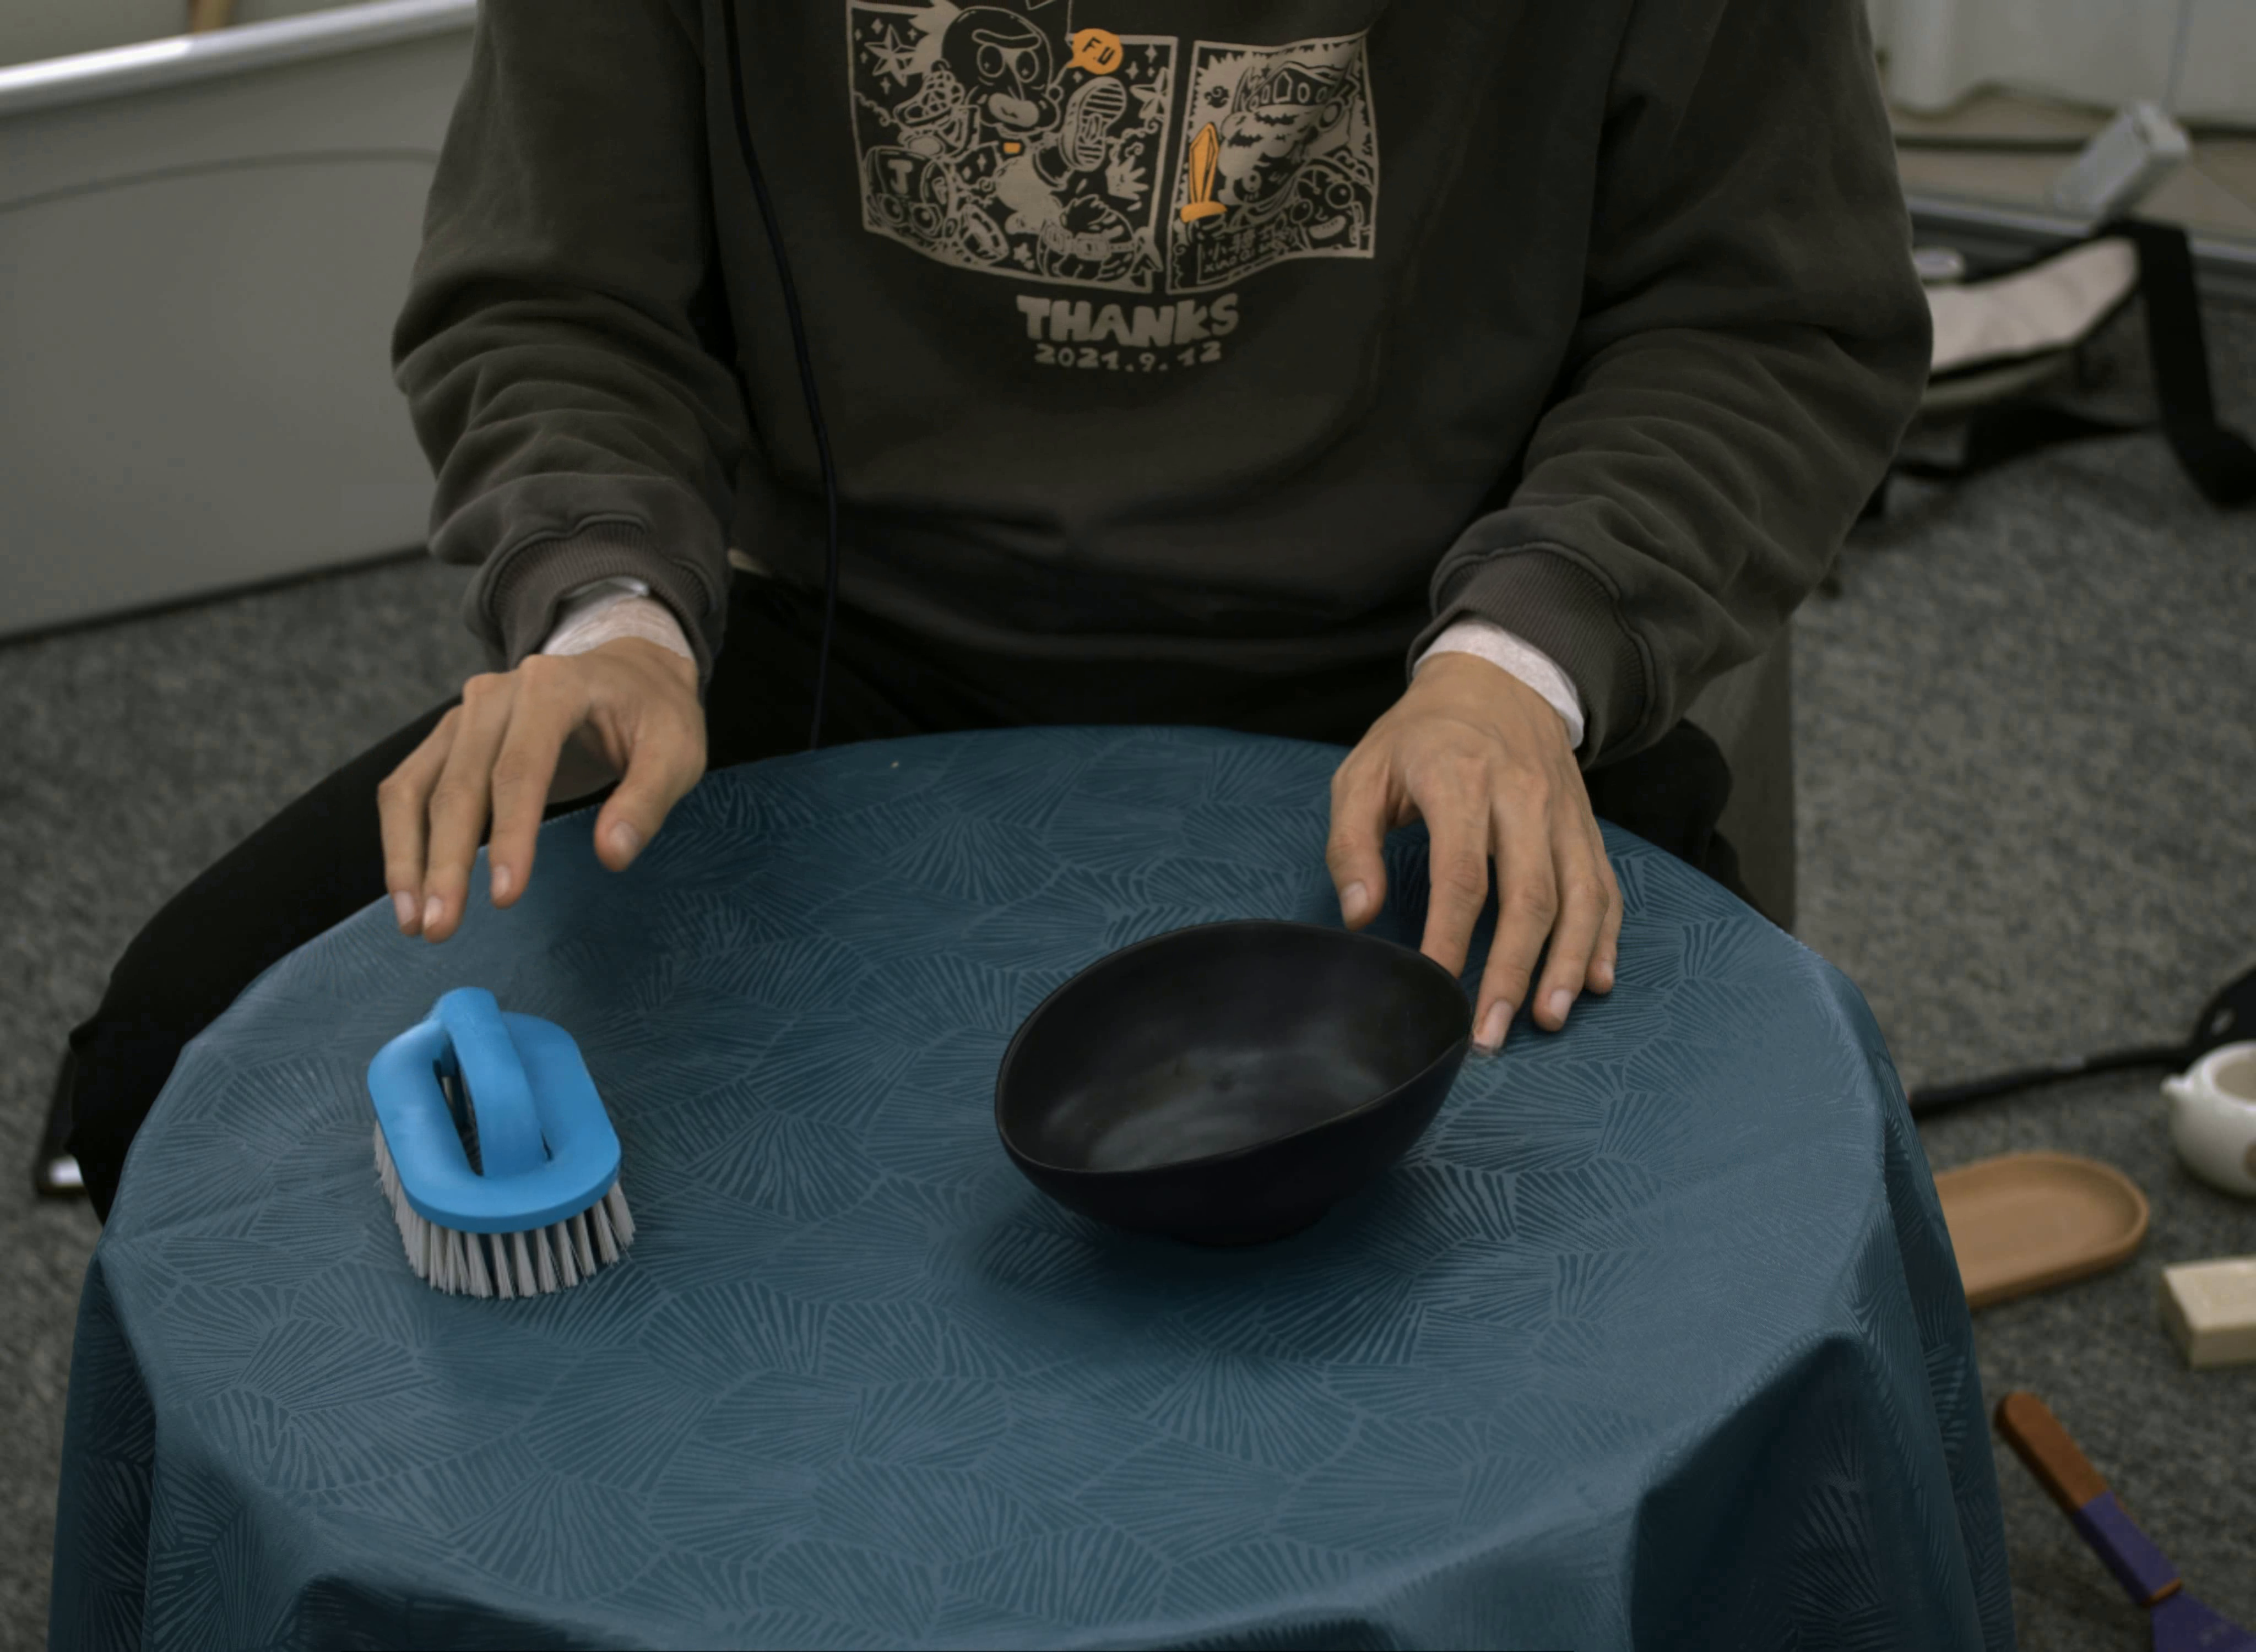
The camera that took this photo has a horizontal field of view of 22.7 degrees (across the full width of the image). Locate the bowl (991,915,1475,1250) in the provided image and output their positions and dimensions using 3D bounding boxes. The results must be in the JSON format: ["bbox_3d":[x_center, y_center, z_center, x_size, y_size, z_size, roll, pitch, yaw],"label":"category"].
[{"bbox_3d":[0.037,0.095,1.842,0.172,0.066,0.137,-24,33,-32],"label":"bowl"}]

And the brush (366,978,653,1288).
[{"bbox_3d":[-0.210,0.093,1.866,0.084,0.063,0.143,-13,28,-10],"label":"brush"}]
